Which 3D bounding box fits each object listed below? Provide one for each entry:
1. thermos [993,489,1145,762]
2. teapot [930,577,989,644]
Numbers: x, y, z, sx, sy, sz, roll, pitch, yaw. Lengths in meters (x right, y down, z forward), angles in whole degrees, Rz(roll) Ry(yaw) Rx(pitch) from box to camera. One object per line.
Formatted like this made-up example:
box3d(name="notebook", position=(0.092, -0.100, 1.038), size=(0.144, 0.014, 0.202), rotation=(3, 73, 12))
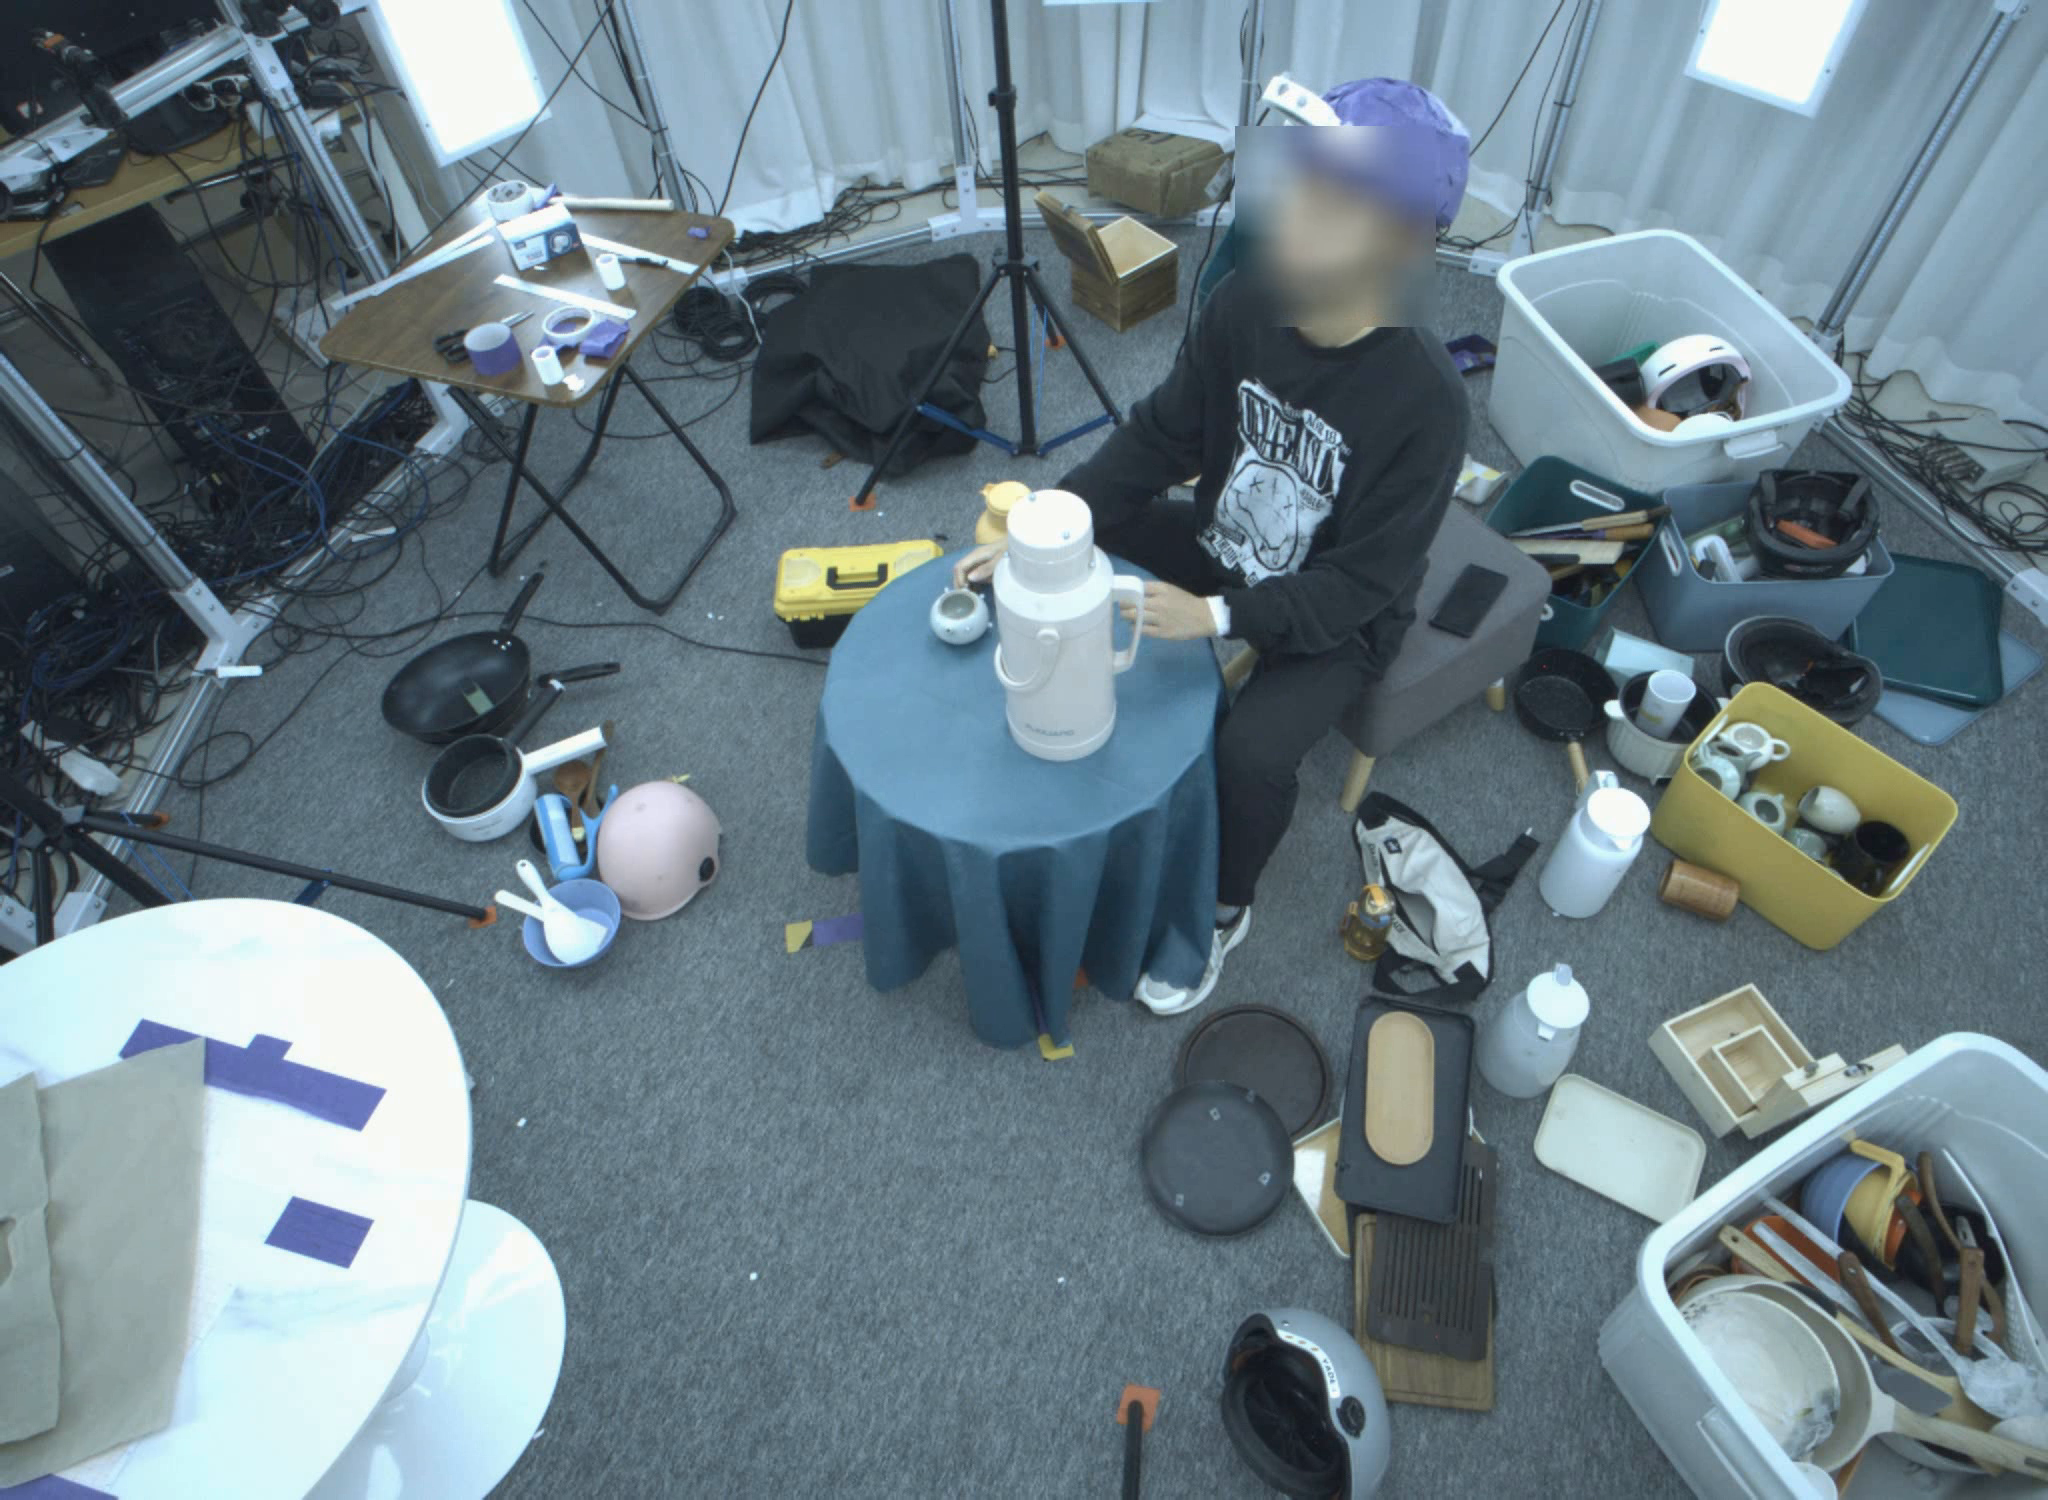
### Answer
box3d(name="thermos", position=(0.057, -0.162, 1.652), size=(0.206, 0.411, 0.174), rotation=(1, 53, 5))
box3d(name="teapot", position=(-0.098, -0.214, 1.903), size=(0.091, 0.060, 0.127), rotation=(8, 56, 11))
